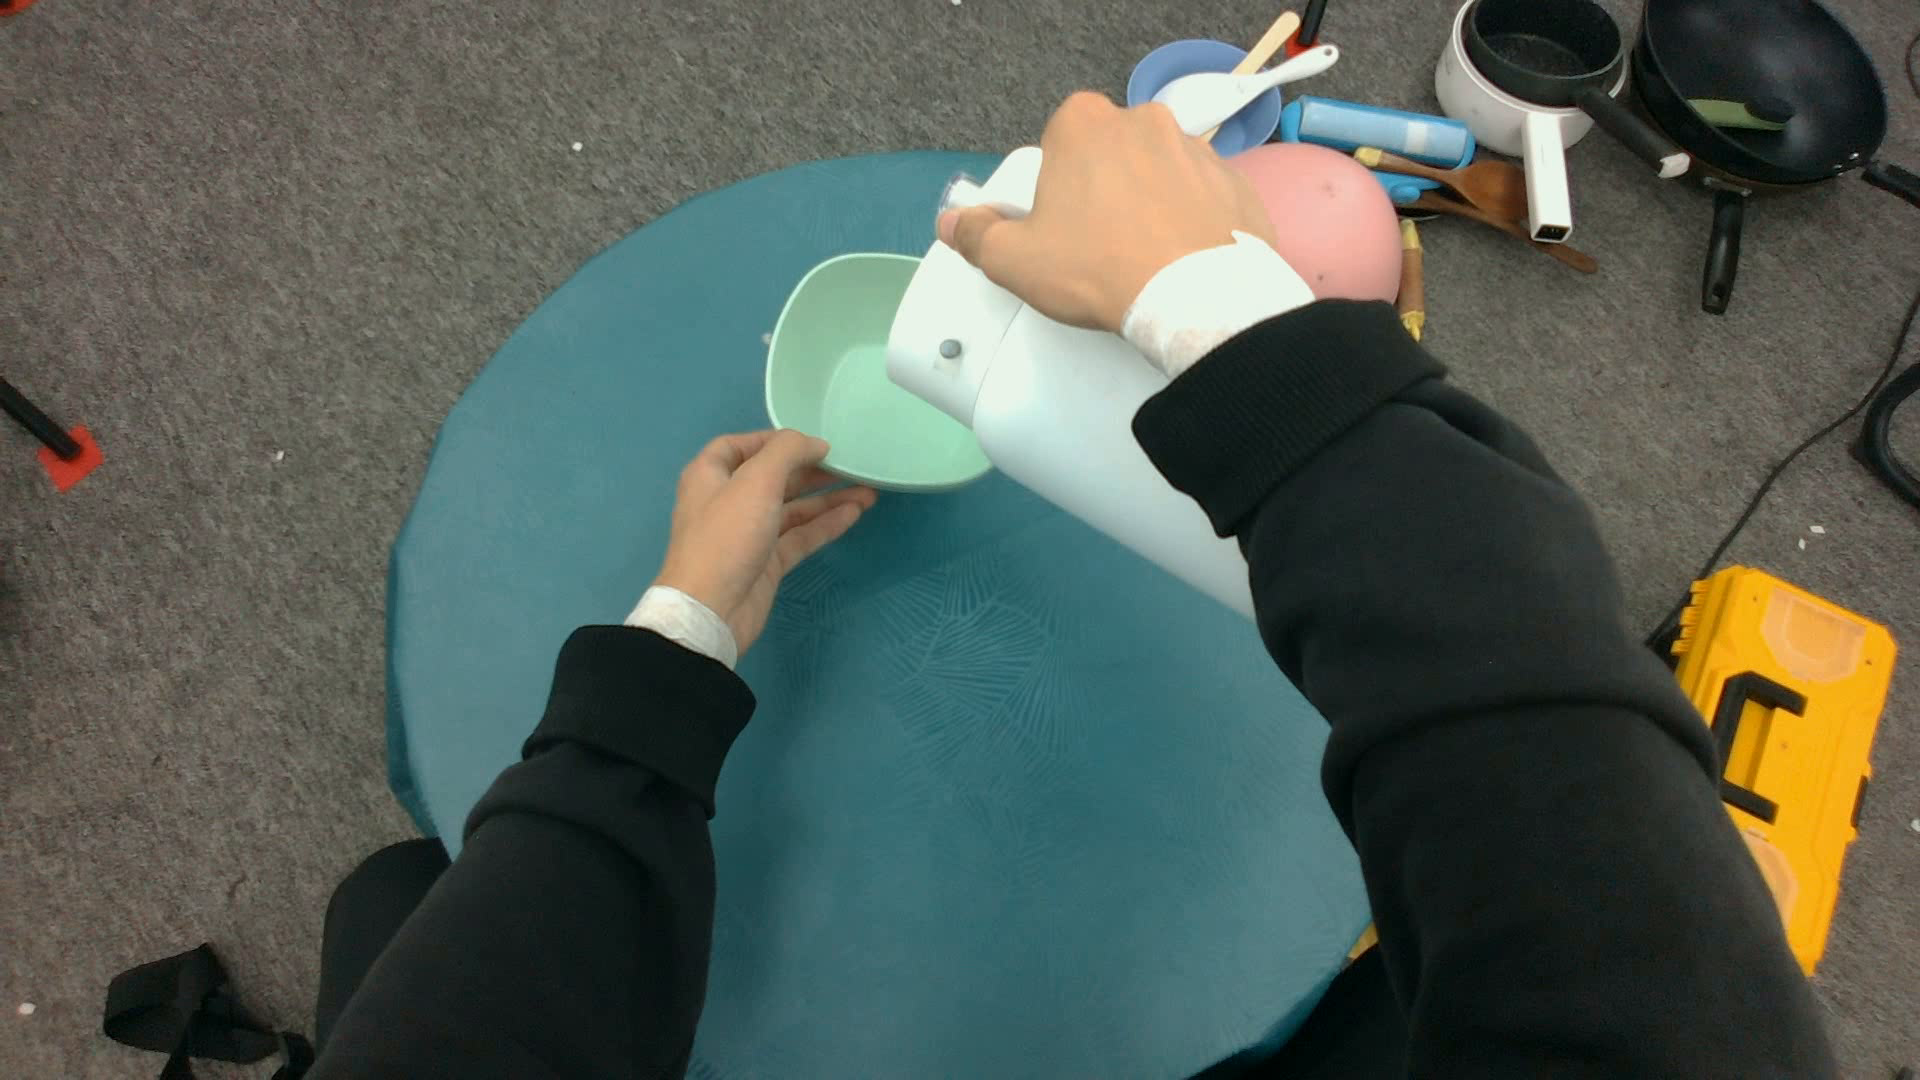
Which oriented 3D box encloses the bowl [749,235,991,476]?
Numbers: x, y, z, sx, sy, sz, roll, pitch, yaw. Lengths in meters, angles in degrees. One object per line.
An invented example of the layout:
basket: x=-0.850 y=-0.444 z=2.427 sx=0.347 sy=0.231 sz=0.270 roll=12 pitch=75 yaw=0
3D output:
bowl: x=-0.044 y=-0.093 z=0.757 sx=0.151 sy=0.058 sz=0.152 roll=2 pitch=71 yaw=-6

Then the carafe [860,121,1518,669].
carafe: x=0.095 y=-0.067 z=0.585 sx=0.269 sy=0.172 sz=0.124 roll=33 pitch=65 yaw=10
